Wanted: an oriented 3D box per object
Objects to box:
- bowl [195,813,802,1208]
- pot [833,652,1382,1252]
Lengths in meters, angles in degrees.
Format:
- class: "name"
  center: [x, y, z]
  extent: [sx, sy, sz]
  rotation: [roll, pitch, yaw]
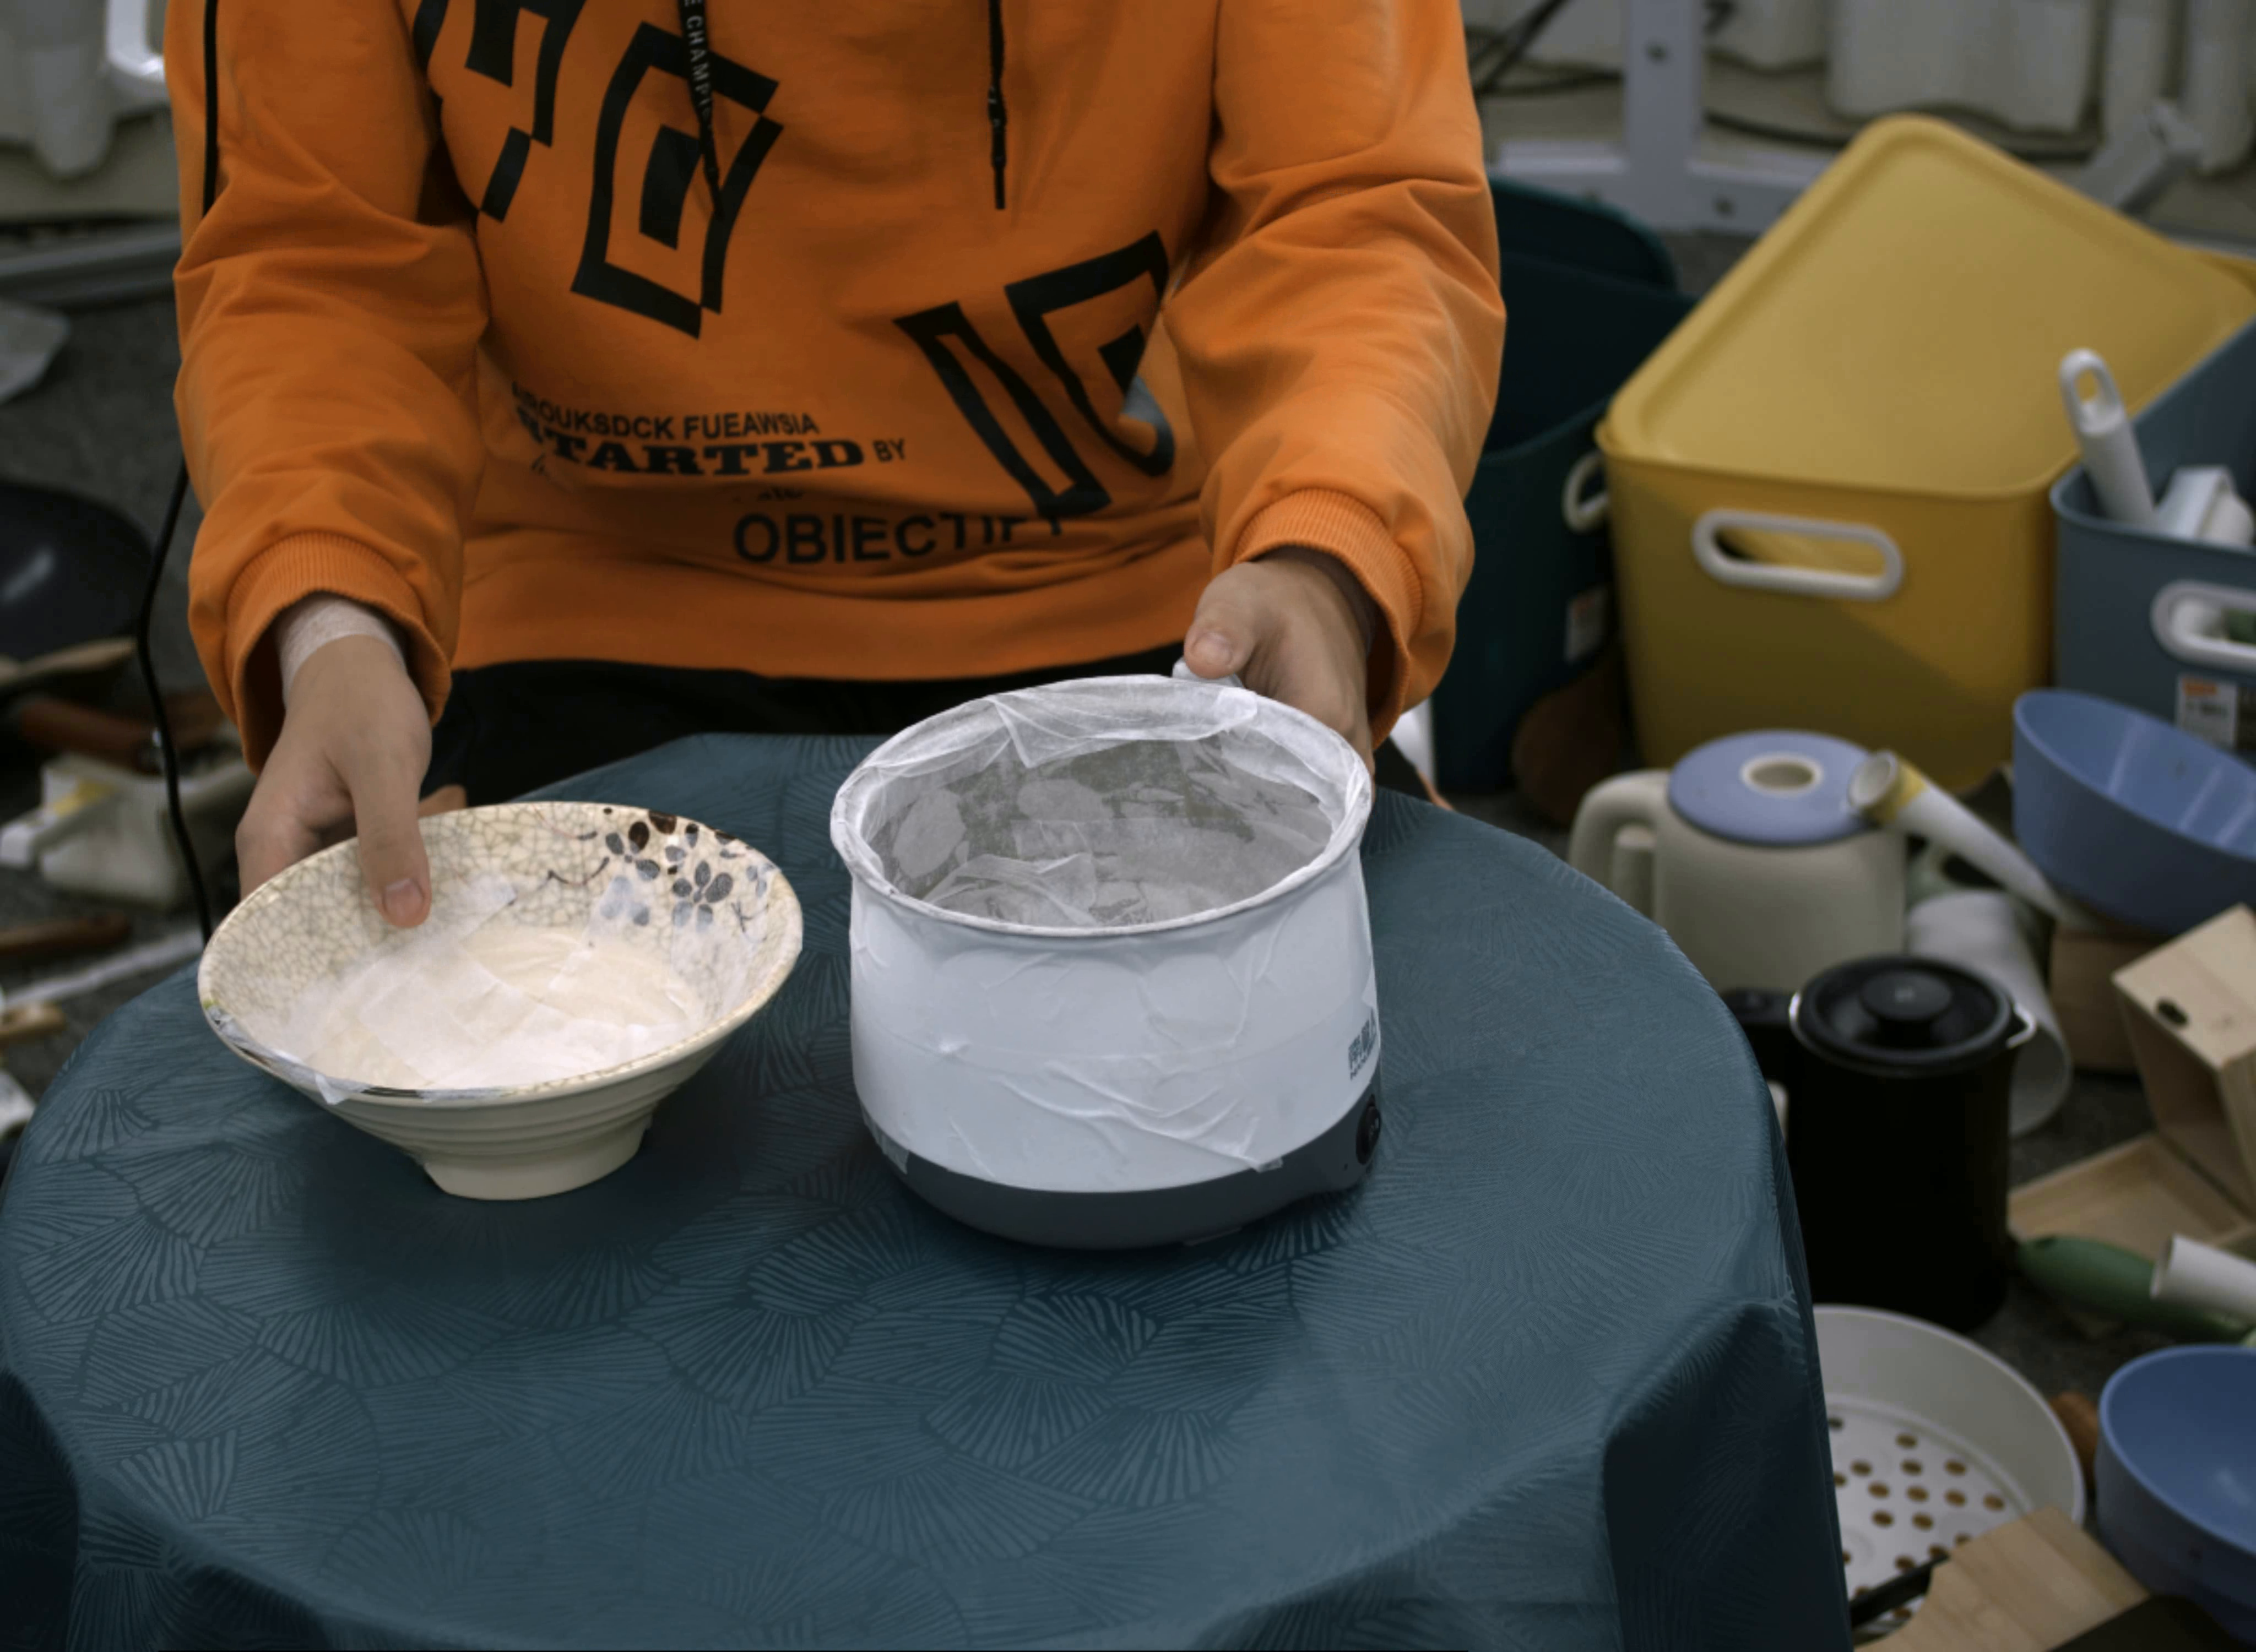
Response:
- class: "bowl"
  center: [-0.208, 0.074, 1.894]
  extent: [0.203, 0.077, 0.207]
  rotation: [-3, 25, 2]
- class: "pot"
  center: [0.003, 0.034, 1.883]
  extent: [0.177, 0.135, 0.238]
  rotation: [6, 29, 16]
